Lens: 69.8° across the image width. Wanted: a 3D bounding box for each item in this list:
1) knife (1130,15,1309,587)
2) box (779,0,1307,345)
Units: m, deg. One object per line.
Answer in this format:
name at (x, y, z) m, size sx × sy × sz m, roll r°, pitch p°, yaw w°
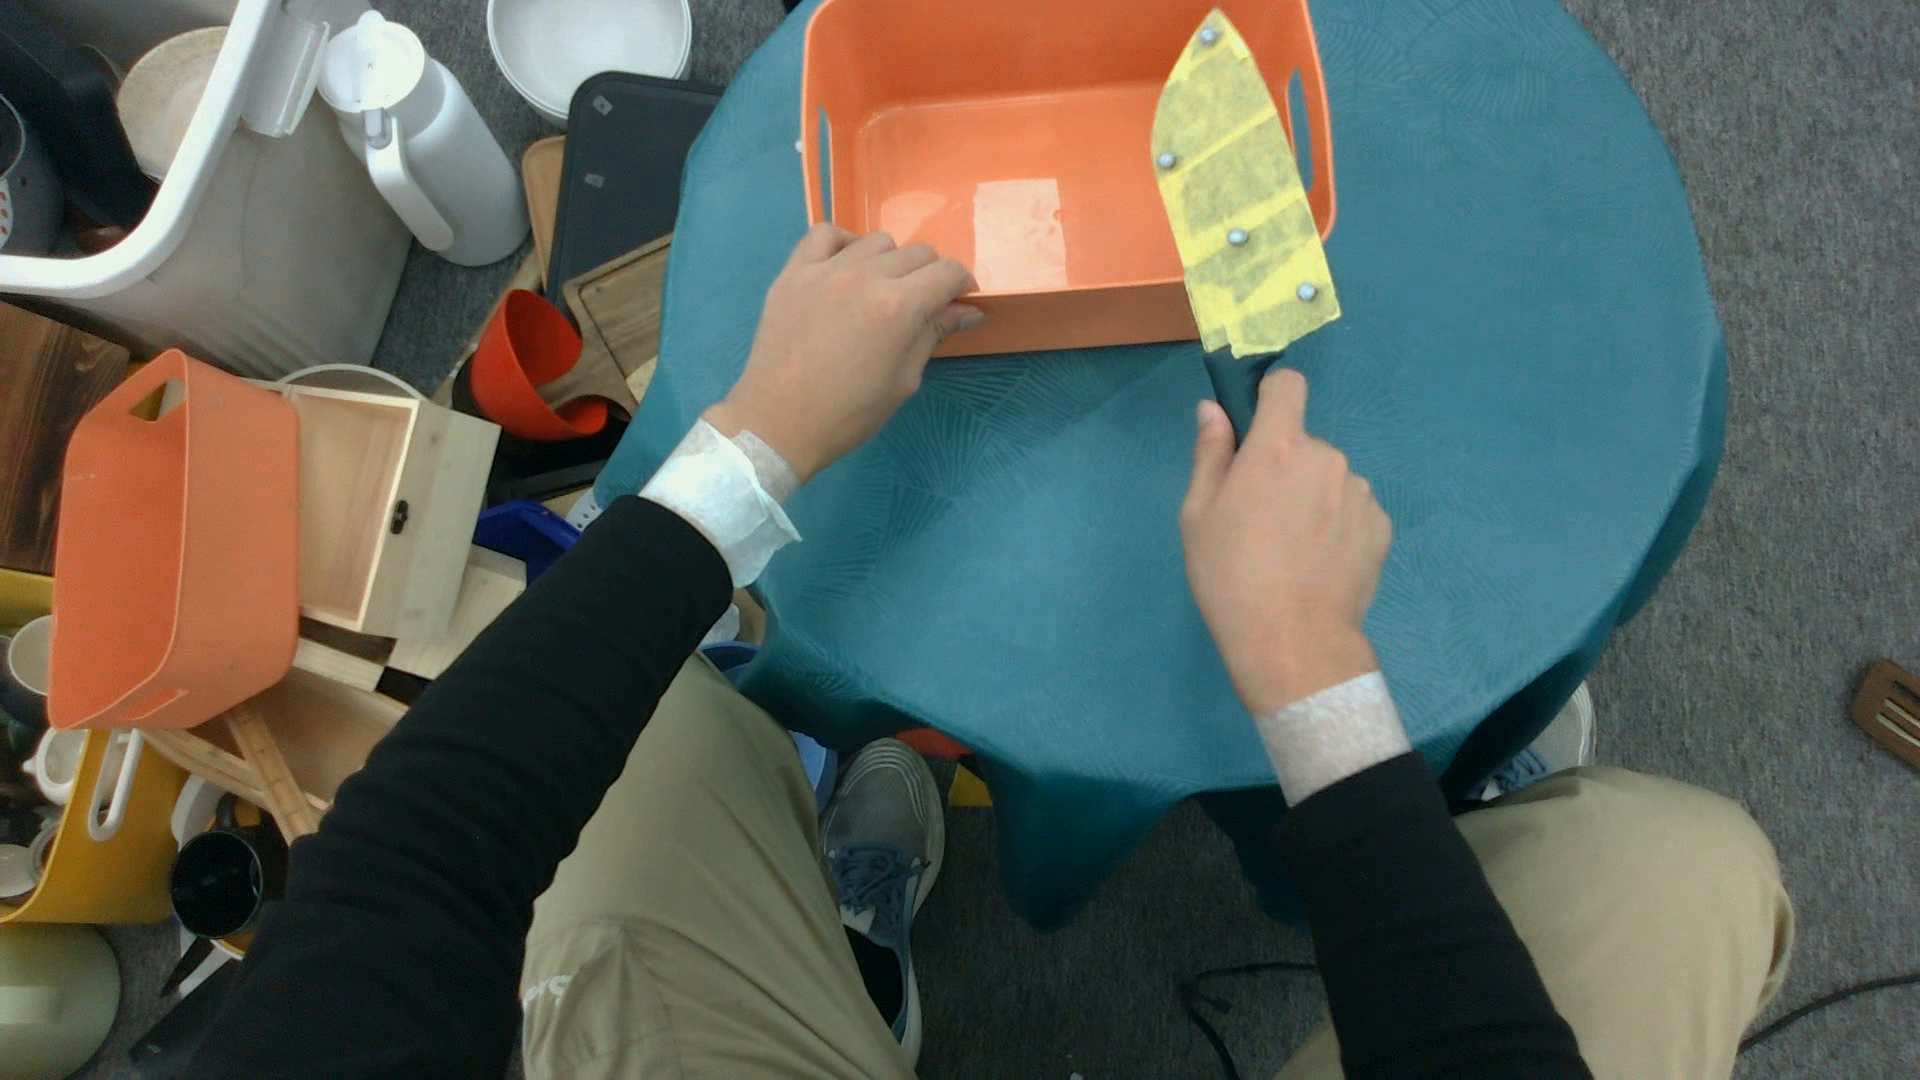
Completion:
knife at (0.131, -0.121, 0.663) m, size 0.027 × 0.080 × 0.290 m, roll -1°, pitch 76°, yaw -42°
box at (0.043, -0.210, 0.764) m, size 0.273 × 0.102 × 0.200 m, roll -4°, pitch 72°, yaw 1°
